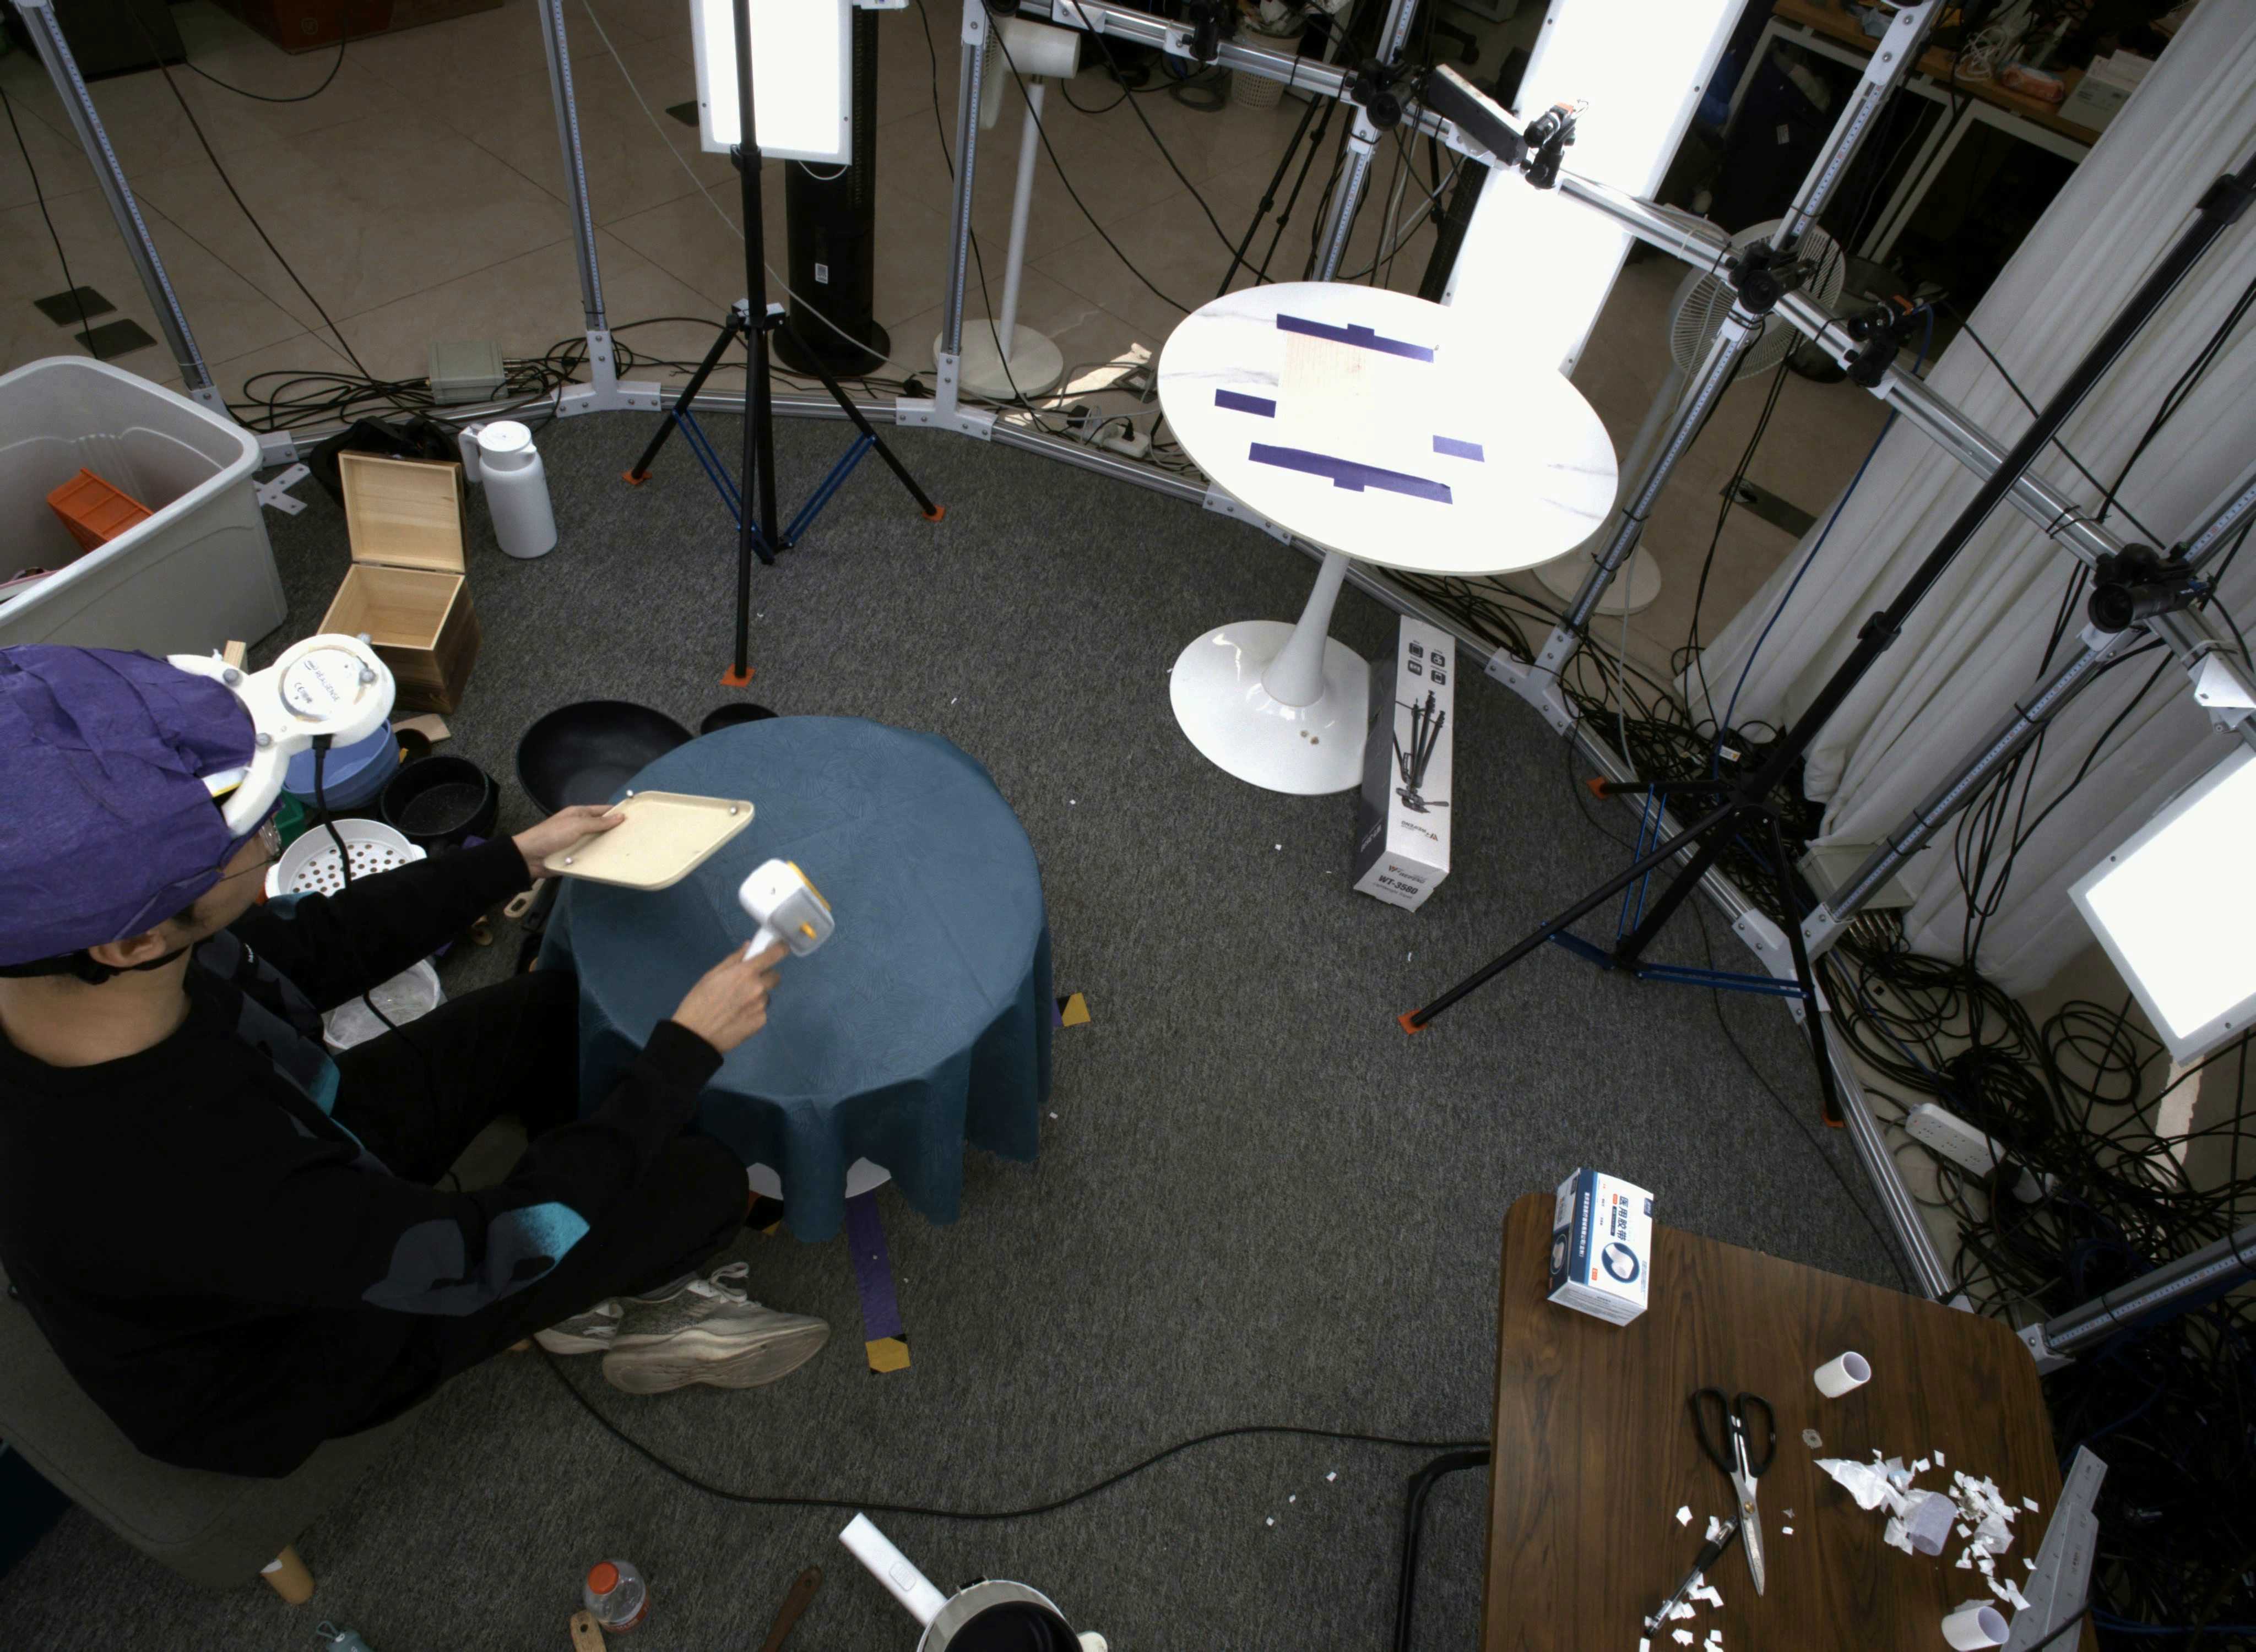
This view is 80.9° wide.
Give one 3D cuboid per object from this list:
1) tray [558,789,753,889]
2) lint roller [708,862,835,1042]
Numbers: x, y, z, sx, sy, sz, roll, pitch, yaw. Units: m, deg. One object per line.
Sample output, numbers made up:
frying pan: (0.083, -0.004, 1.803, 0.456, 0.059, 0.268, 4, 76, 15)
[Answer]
tray: (-0.560, 0.012, 1.505, 0.231, 0.018, 0.171, 5, 38, 32)
lint roller: (-0.405, 0.141, 1.413, 0.073, 0.195, 0.192, 36, 79, 8)
